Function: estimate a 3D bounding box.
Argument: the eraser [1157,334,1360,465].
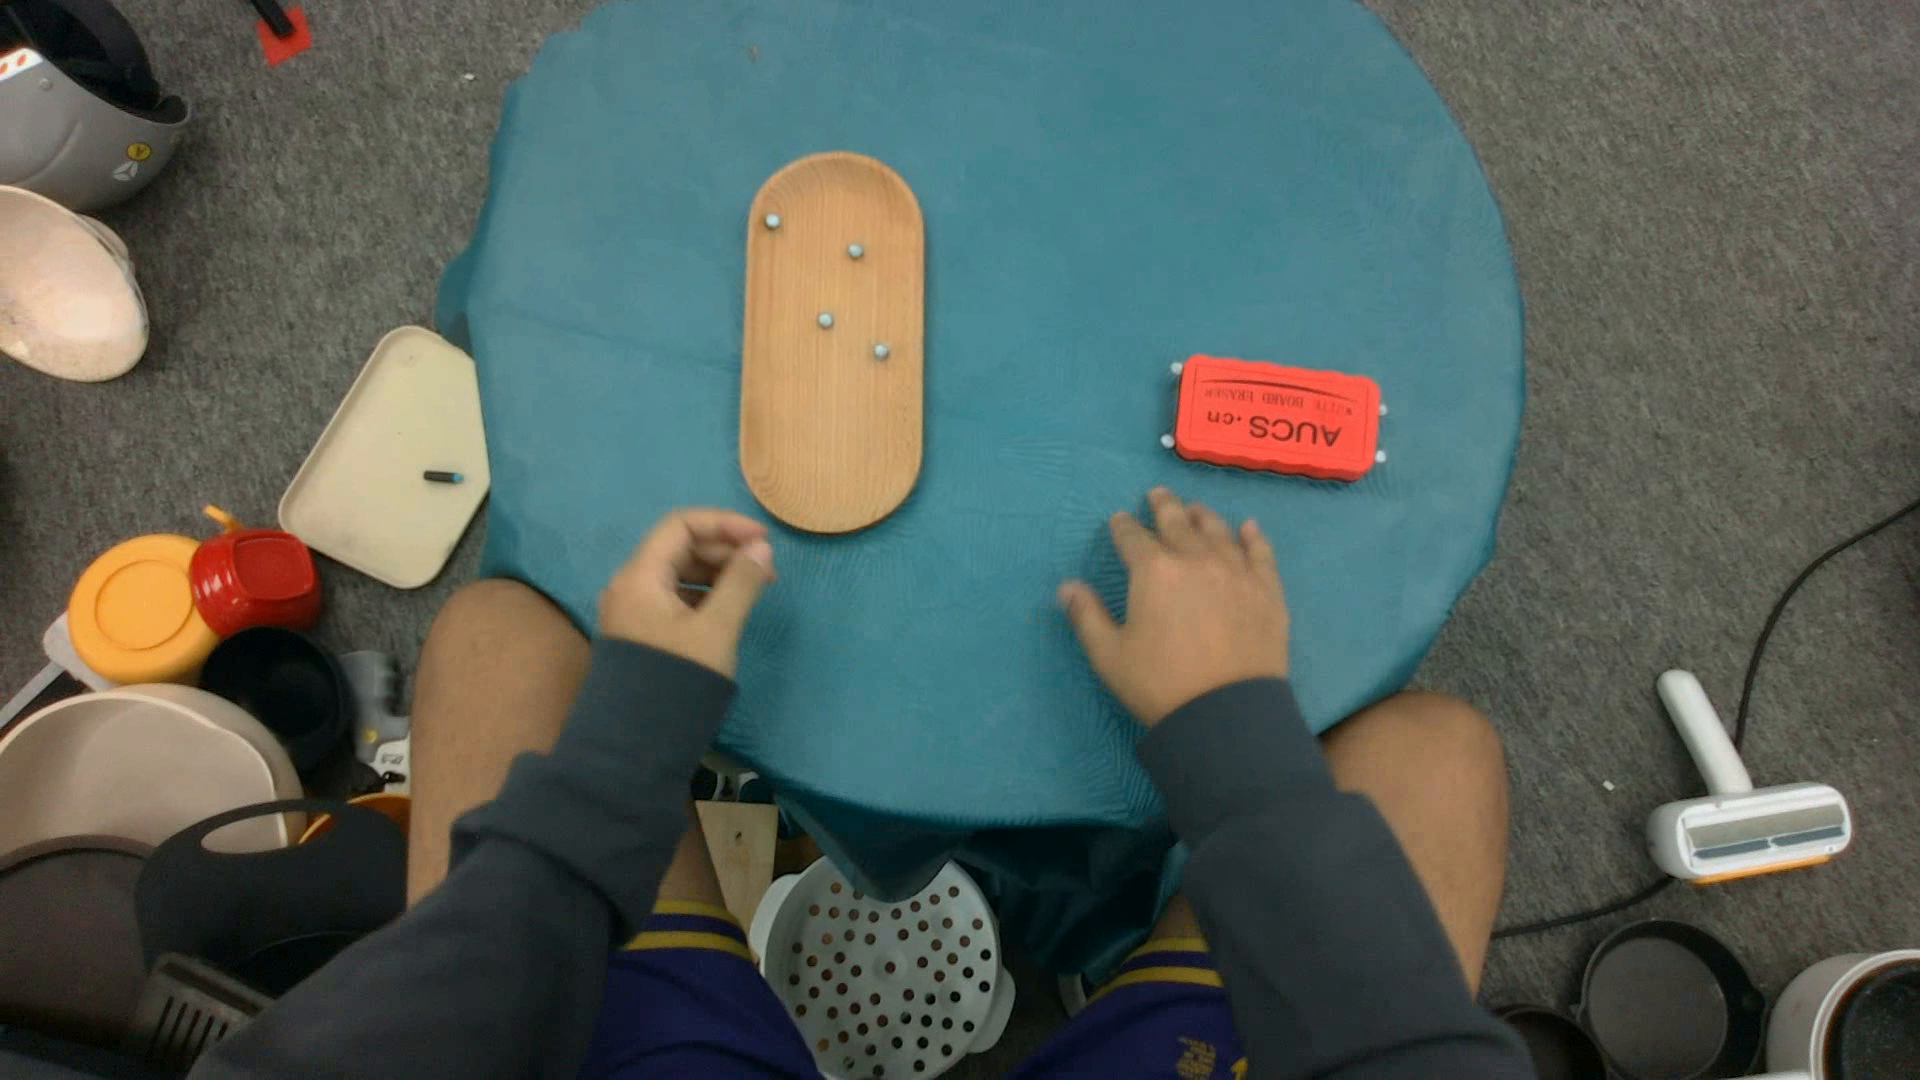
[{"bbox_3d":[0.165,-0.078,0.763,0.108,0.023,0.059,9,67,0],"label":"eraser"}]

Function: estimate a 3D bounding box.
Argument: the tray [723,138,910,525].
[{"bbox_3d":[-0.079,-0.119,0.770,0.102,0.020,0.231,-1,76,-2],"label":"tray"}]
